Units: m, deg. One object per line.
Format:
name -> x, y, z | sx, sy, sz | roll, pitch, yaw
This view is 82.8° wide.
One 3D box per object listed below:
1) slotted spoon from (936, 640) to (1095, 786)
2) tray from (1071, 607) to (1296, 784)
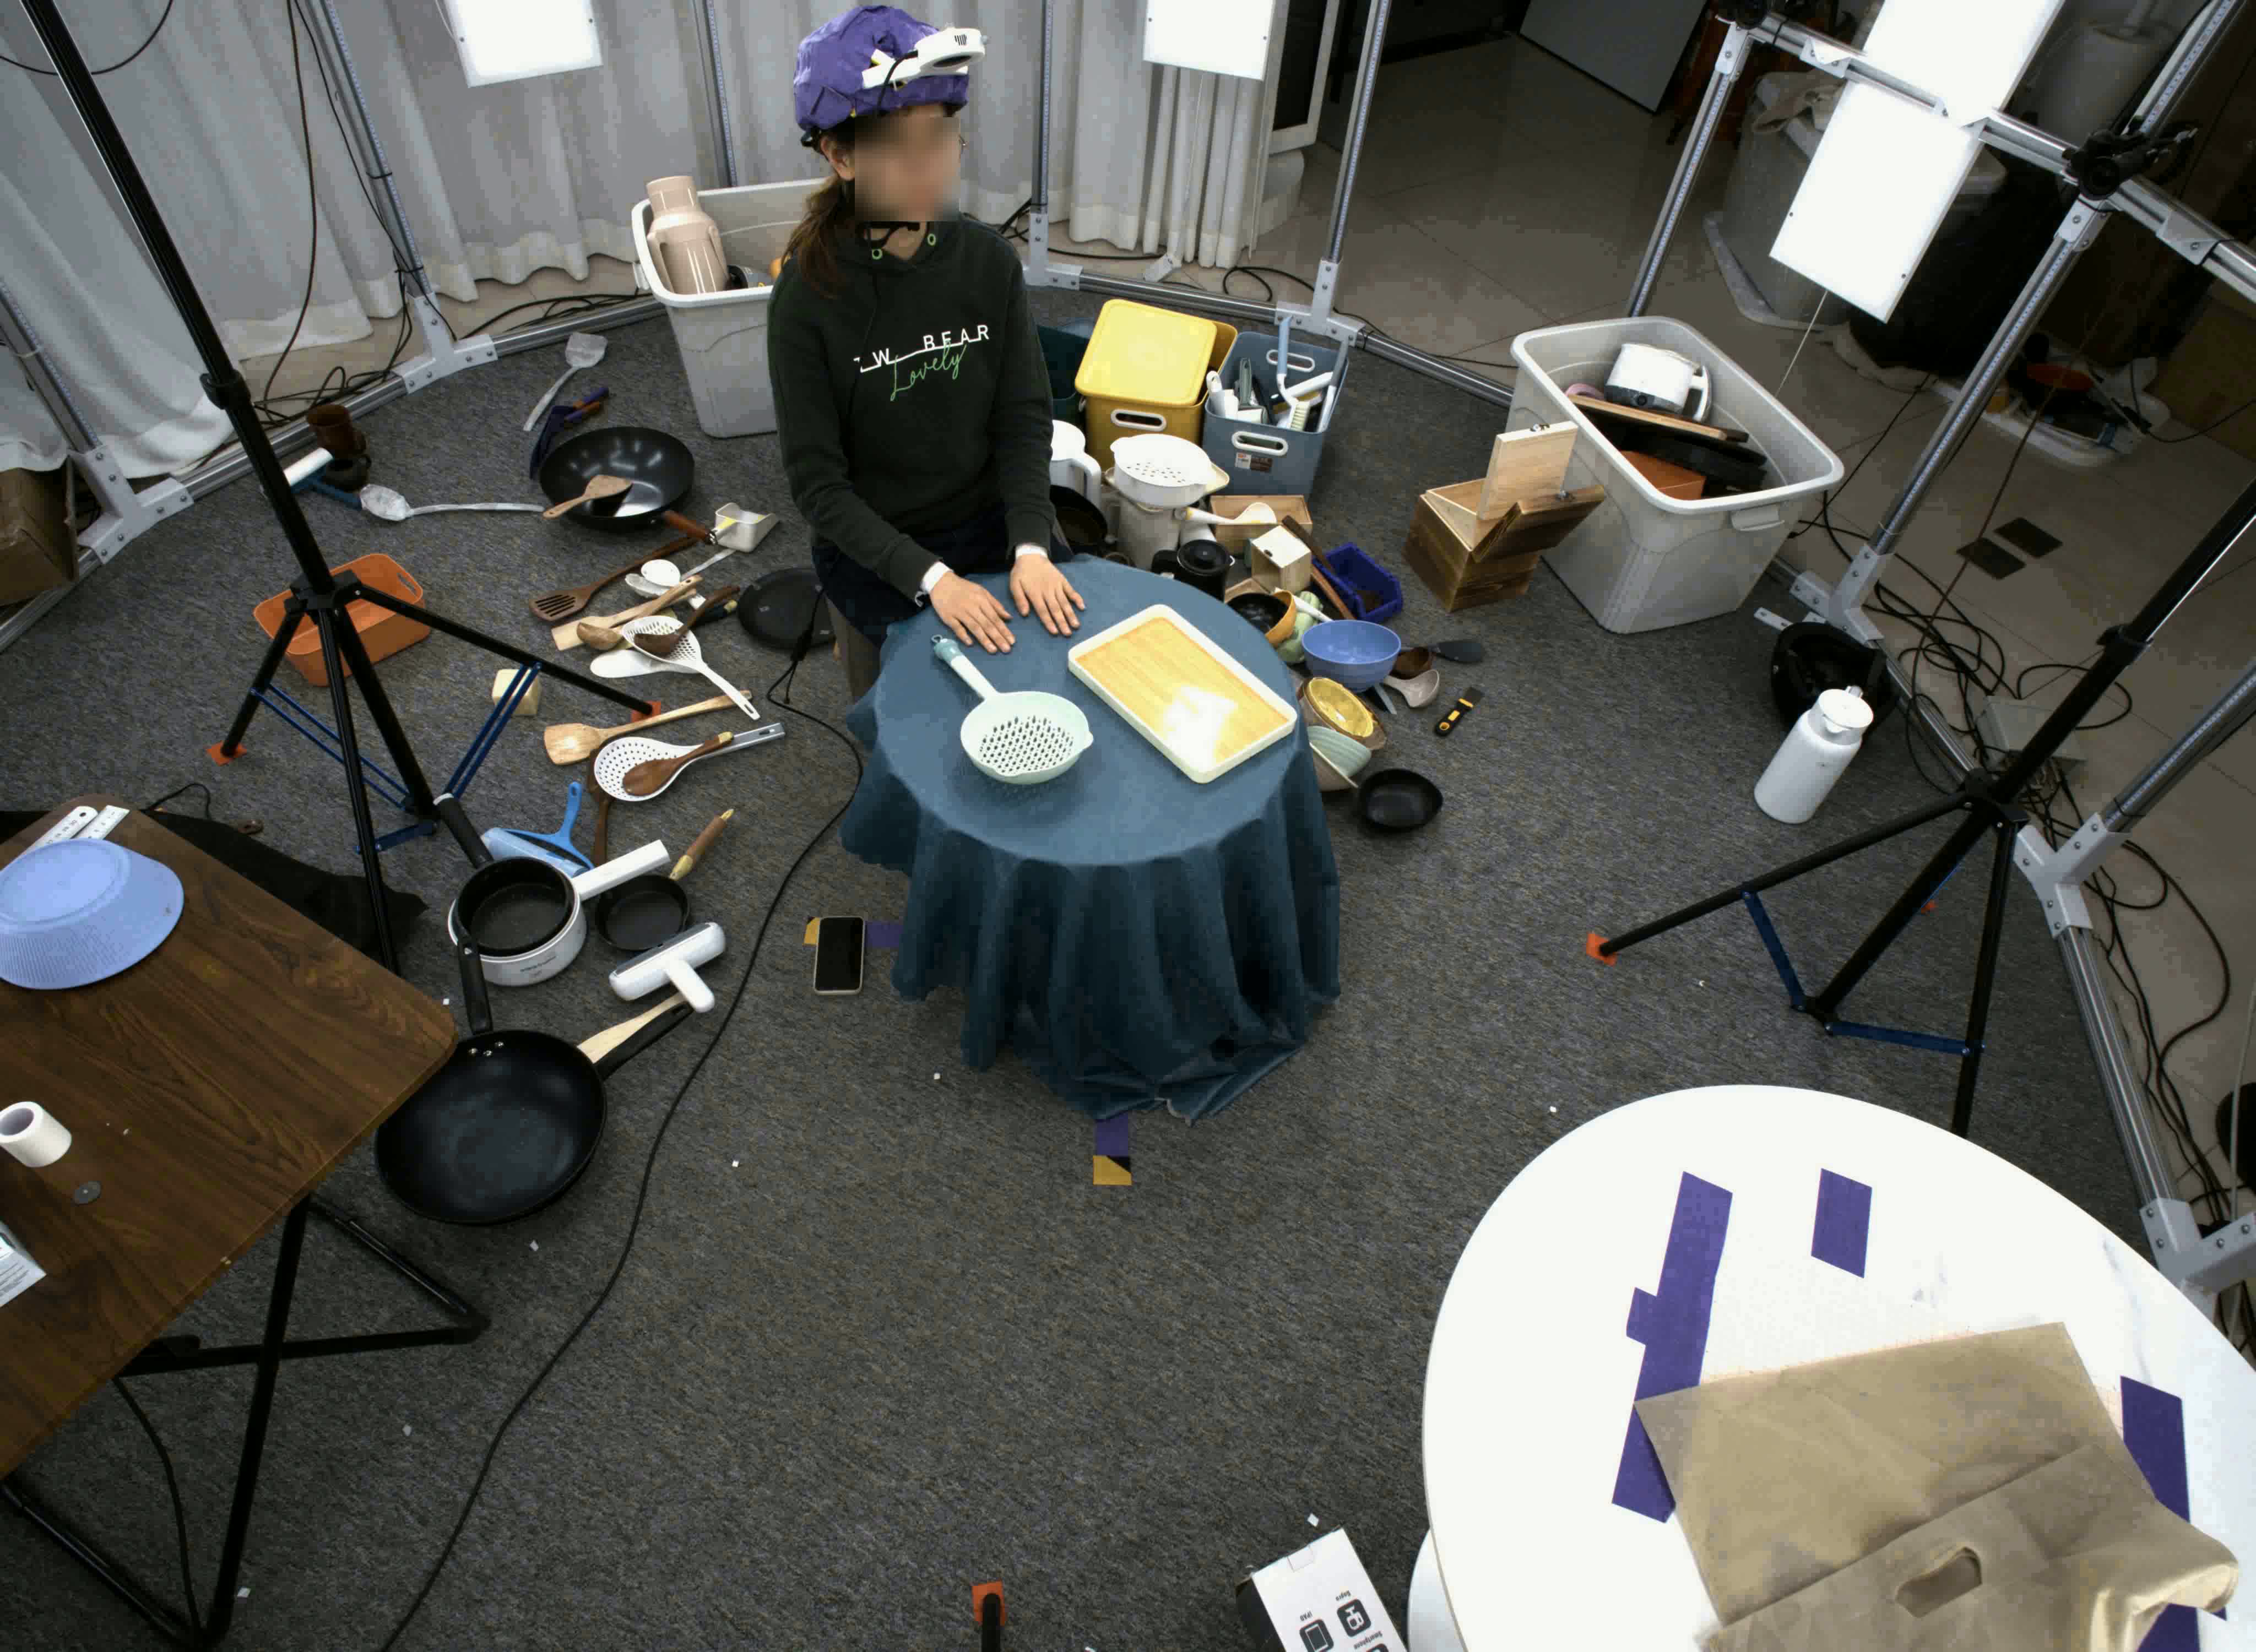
slotted spoon -> -0.186, -0.173, 1.781 | 0.170, 0.073, 0.366 | -22, 54, -22
tray -> 0.077, -0.193, 1.841 | 0.193, 0.027, 0.305 | -30, 57, -26
